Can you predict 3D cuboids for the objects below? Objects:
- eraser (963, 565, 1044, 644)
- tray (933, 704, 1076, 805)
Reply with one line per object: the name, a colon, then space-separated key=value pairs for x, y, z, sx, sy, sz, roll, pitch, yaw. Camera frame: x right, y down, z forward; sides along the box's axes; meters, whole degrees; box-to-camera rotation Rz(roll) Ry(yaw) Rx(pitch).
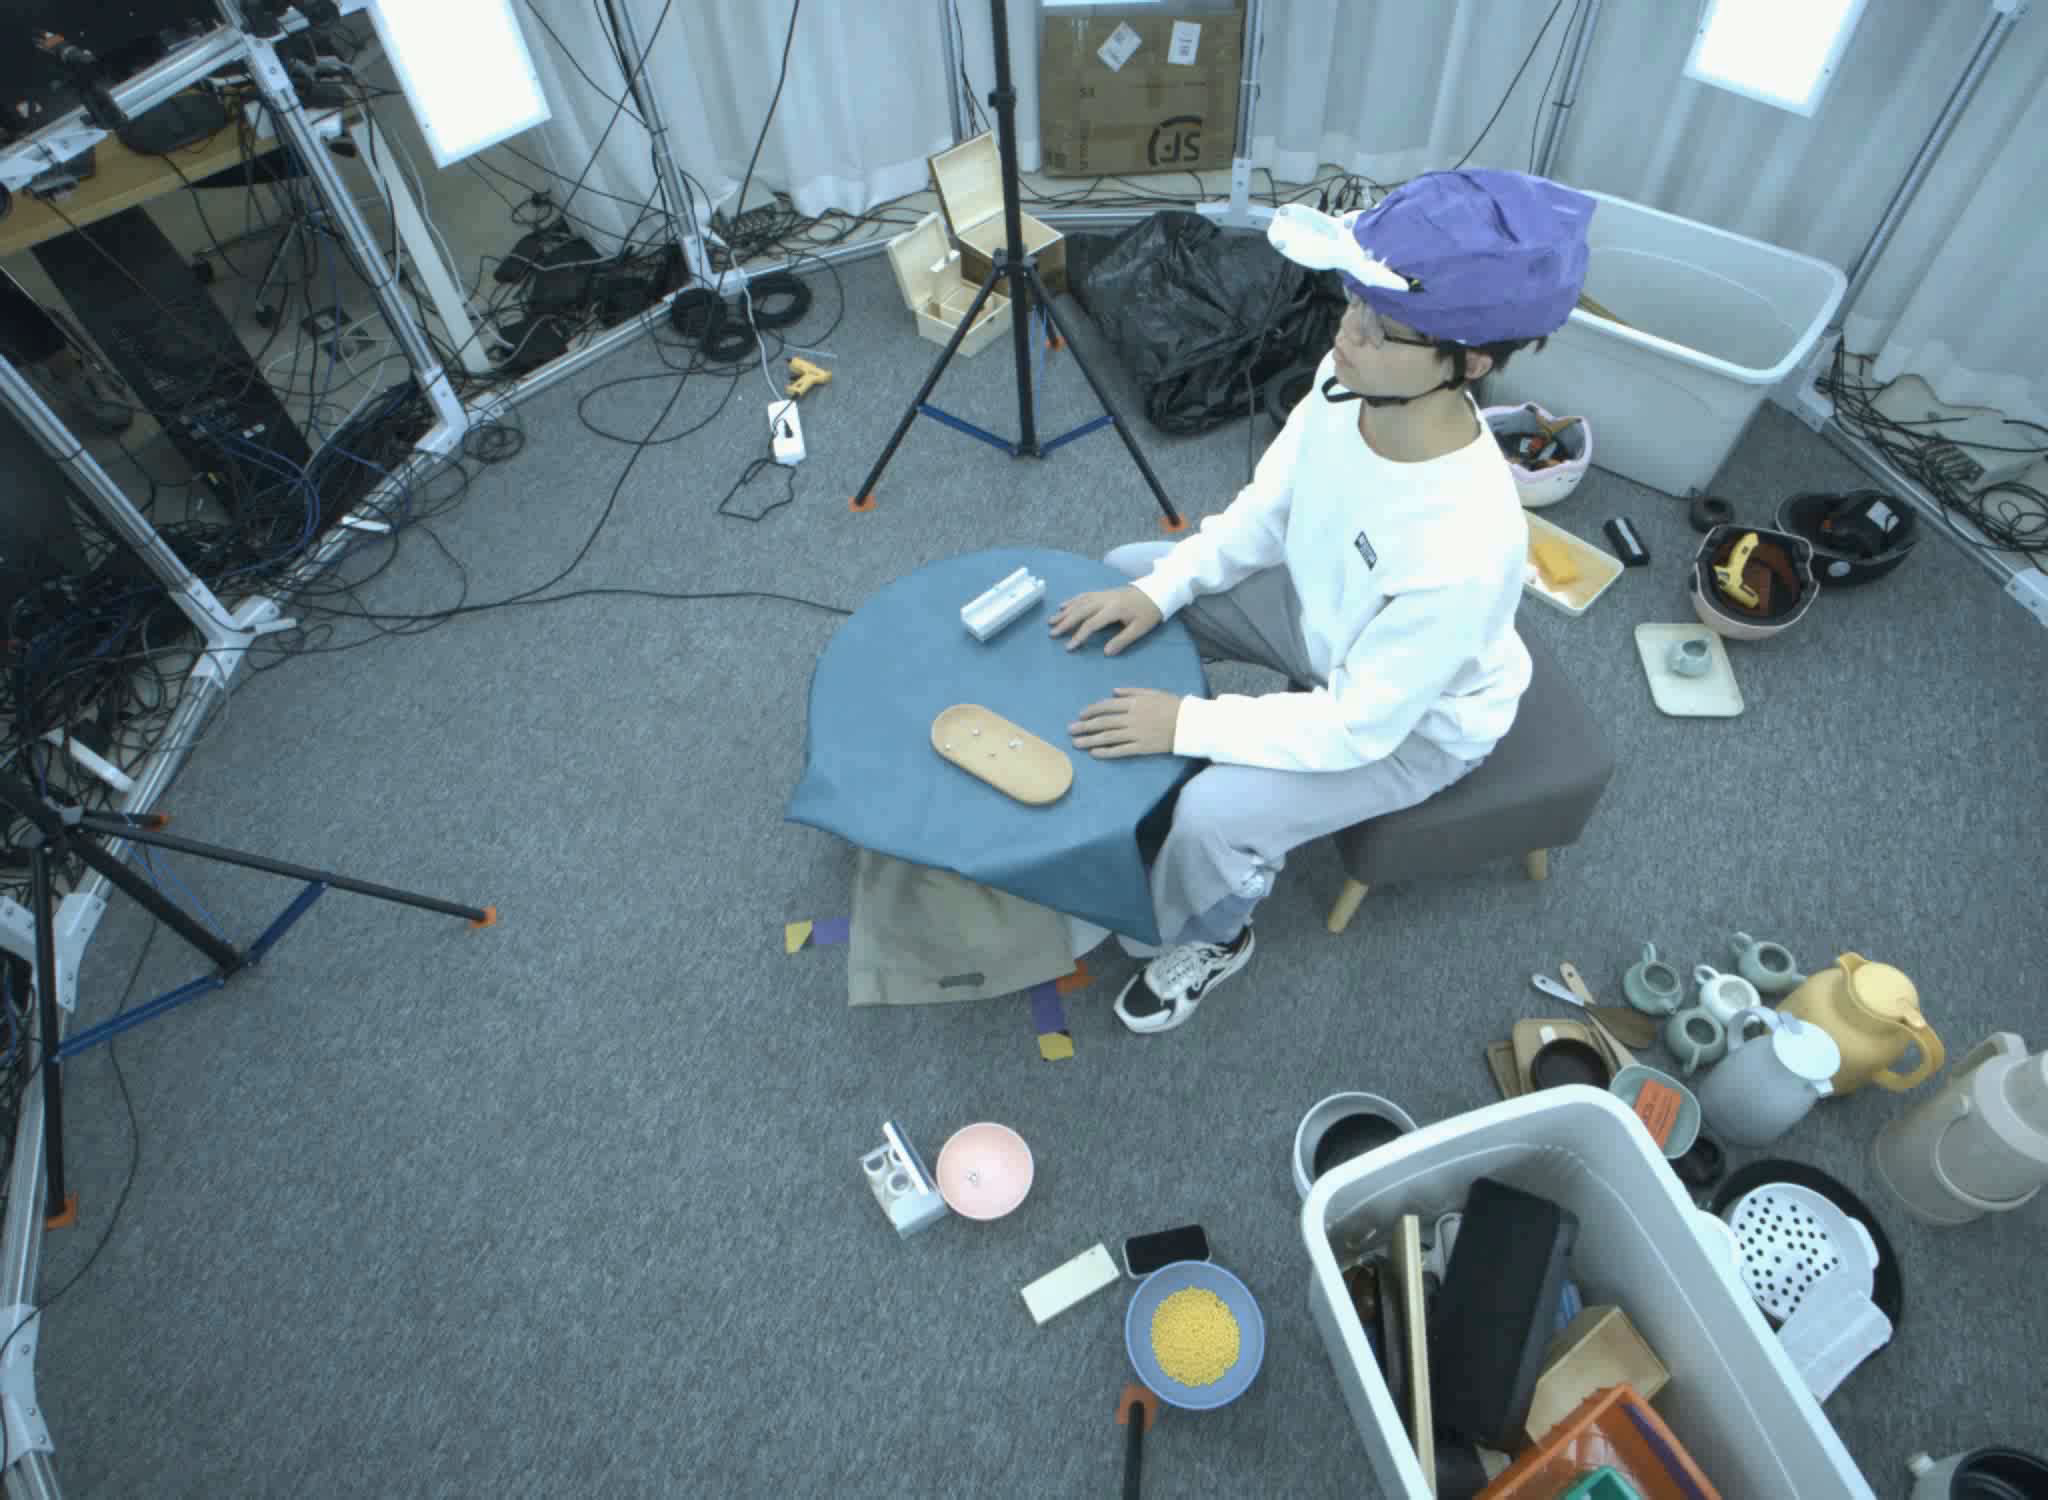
eraser: x=-0.031 y=-0.227 z=1.919 sx=0.049 sy=0.047 sz=0.135 roll=38 pitch=63 yaw=20
tray: x=-0.030 y=0.006 z=1.771 sx=0.228 sy=0.020 sz=0.102 roll=30 pitch=61 yaw=19
